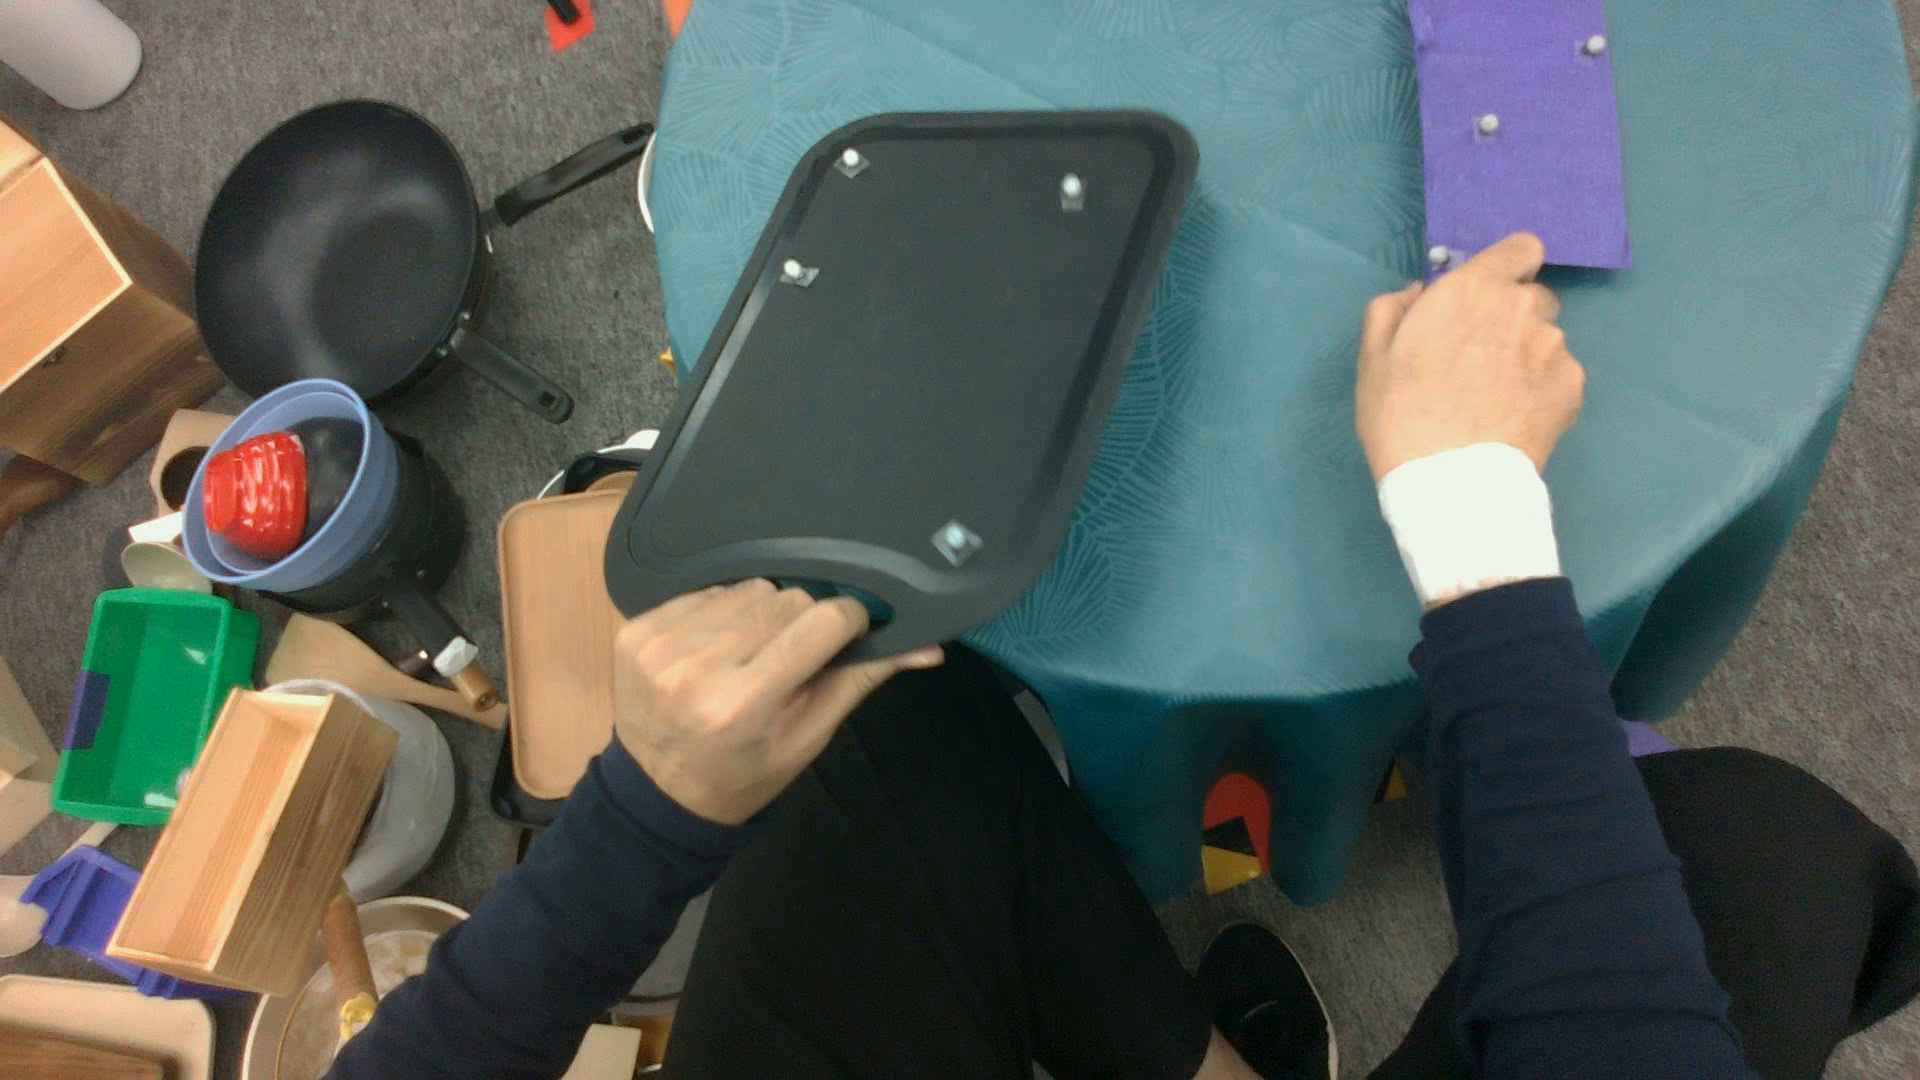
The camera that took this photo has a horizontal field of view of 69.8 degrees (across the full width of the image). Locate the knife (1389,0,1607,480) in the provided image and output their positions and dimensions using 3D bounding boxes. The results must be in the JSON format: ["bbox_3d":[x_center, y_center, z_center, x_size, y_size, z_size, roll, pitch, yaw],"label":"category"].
[{"bbox_3d":[0.242,-0.177,0.619,0.104,0.032,0.316,3,73,-1],"label":"knife"}]

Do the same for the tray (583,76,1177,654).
[{"bbox_3d":[-0.033,-0.091,0.593,0.210,0.010,0.327,4,56,26],"label":"tray"}]
